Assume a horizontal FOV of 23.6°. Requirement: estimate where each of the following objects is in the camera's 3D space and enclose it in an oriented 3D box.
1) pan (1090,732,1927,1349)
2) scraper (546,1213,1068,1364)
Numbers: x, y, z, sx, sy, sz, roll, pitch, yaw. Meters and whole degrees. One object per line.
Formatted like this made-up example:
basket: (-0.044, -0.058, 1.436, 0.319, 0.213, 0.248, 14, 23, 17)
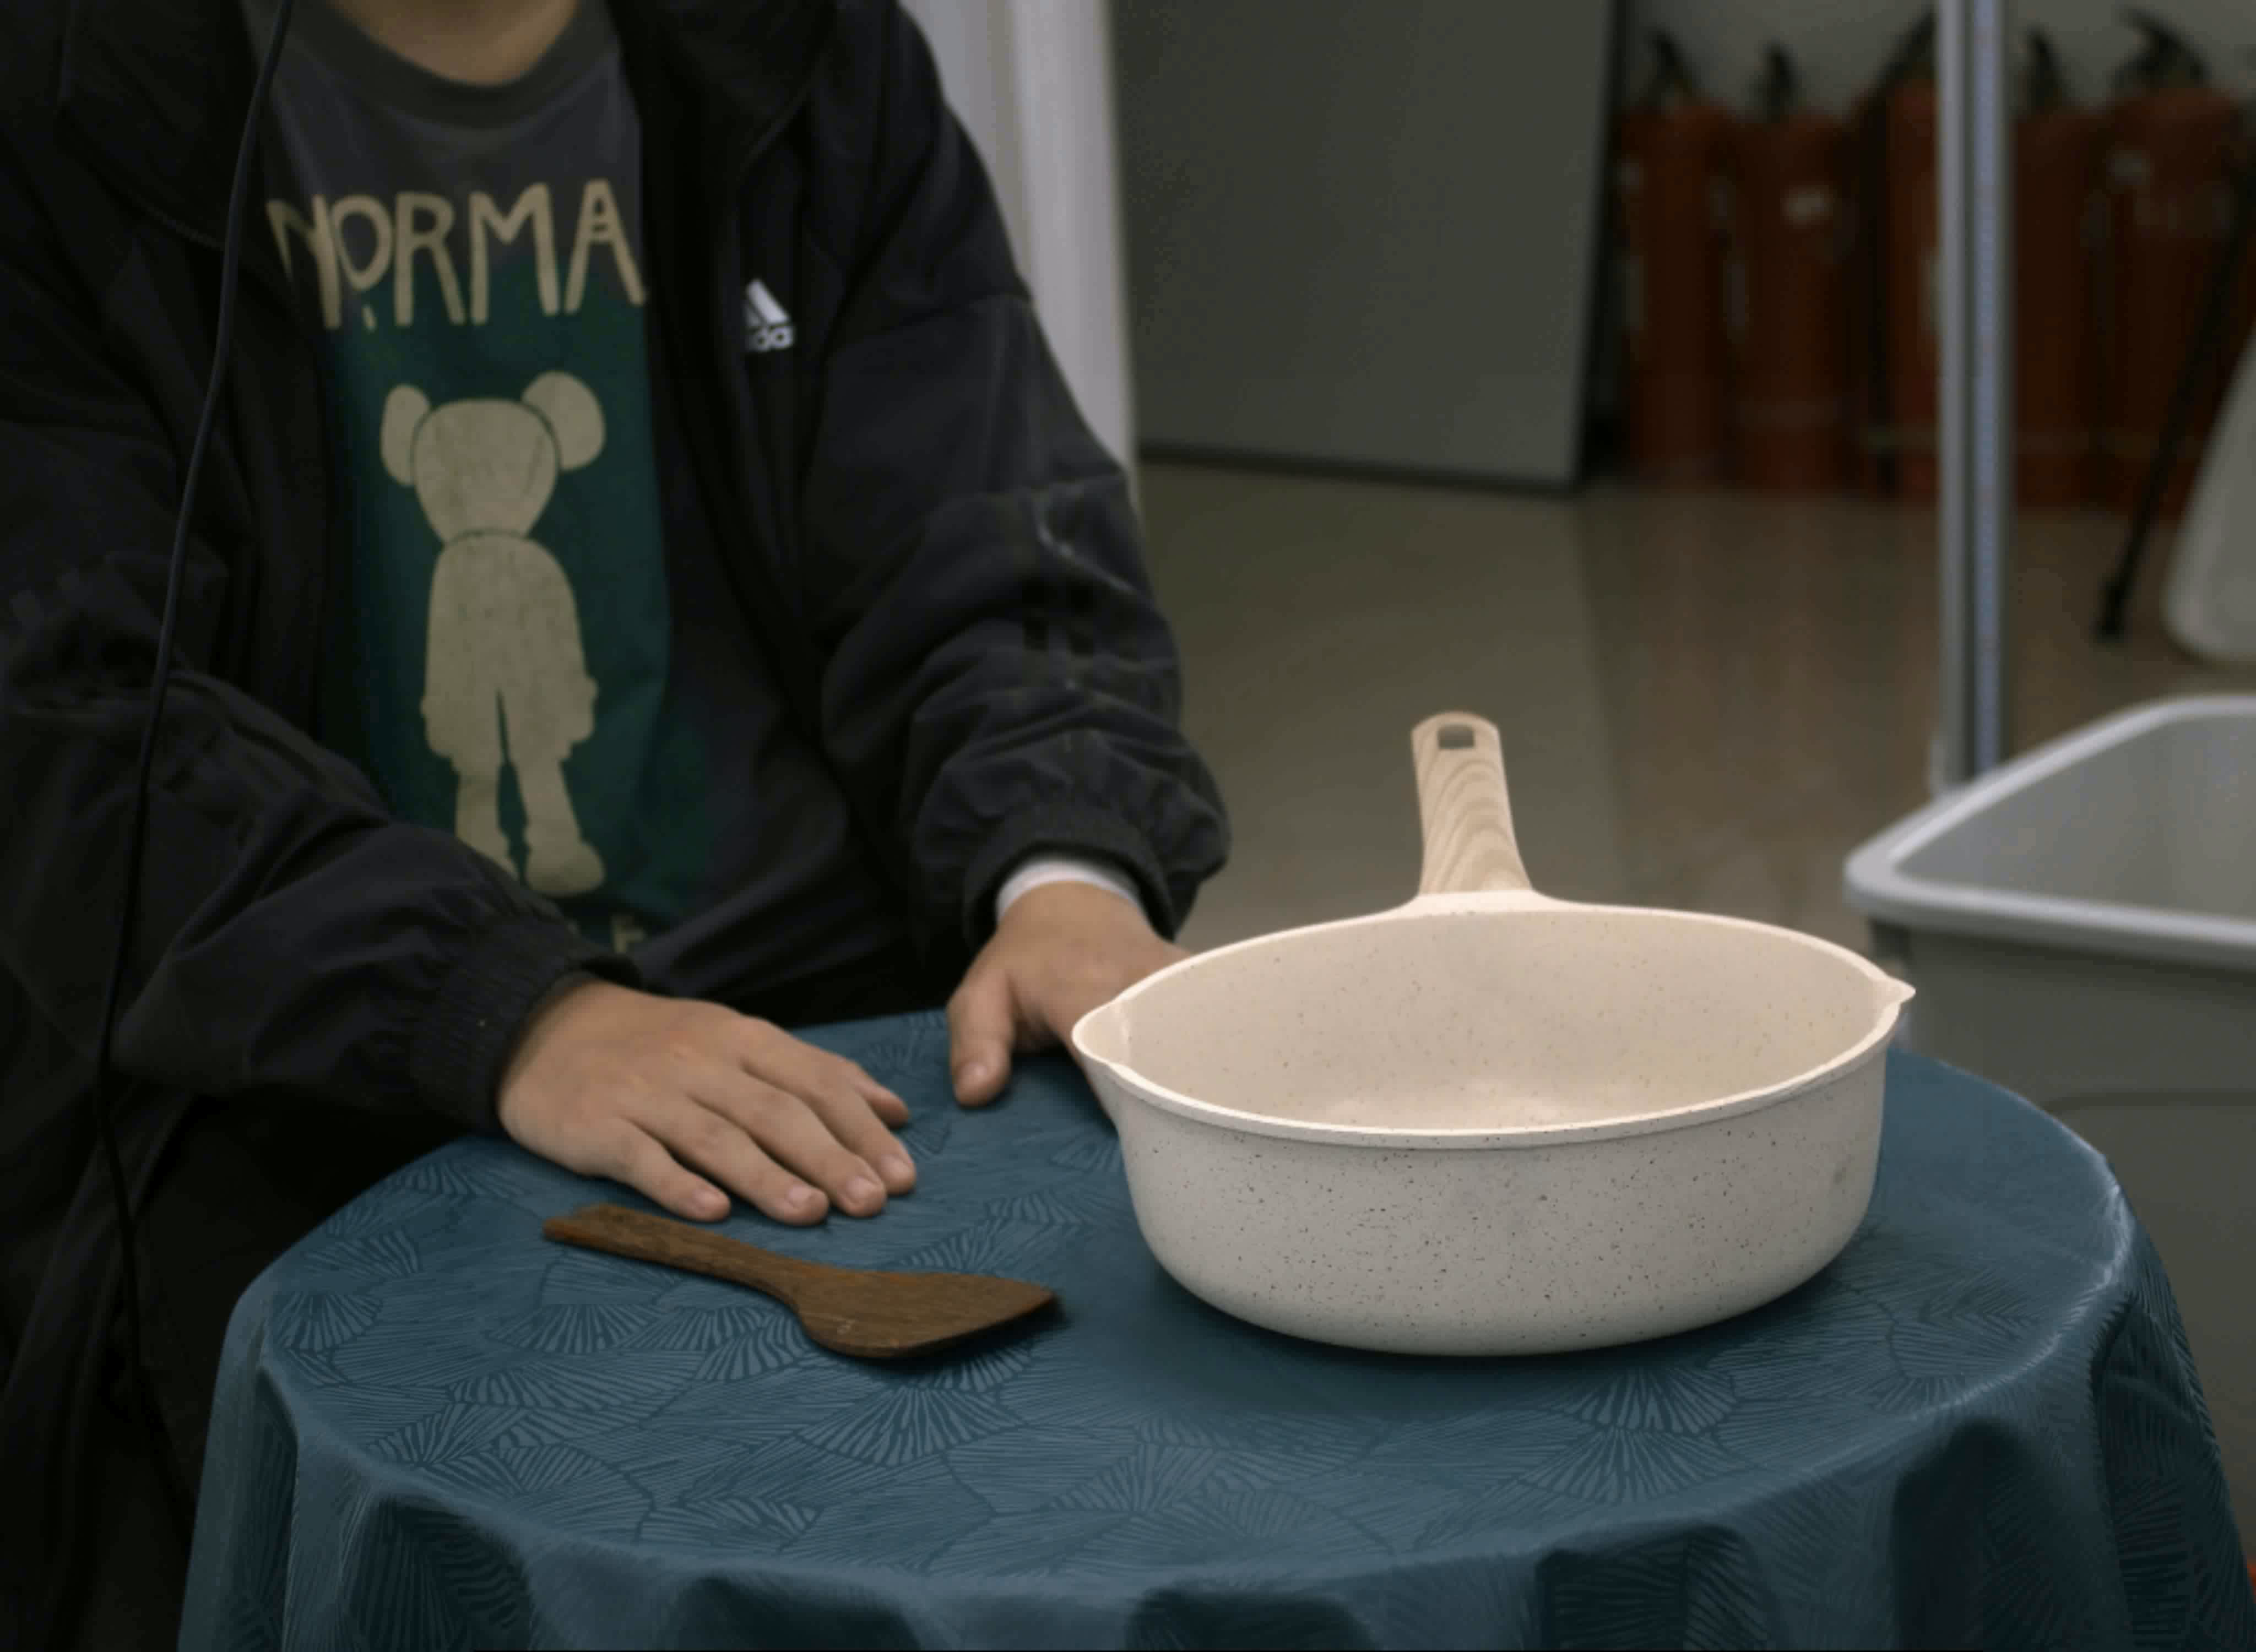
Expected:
pan: (0.121, 0.065, 1.759, 0.260, 0.103, 0.435, -5, 13, 2)
scraper: (-0.110, 0.143, 1.703, 0.074, 0.011, 0.213, -16, 17, -42)
